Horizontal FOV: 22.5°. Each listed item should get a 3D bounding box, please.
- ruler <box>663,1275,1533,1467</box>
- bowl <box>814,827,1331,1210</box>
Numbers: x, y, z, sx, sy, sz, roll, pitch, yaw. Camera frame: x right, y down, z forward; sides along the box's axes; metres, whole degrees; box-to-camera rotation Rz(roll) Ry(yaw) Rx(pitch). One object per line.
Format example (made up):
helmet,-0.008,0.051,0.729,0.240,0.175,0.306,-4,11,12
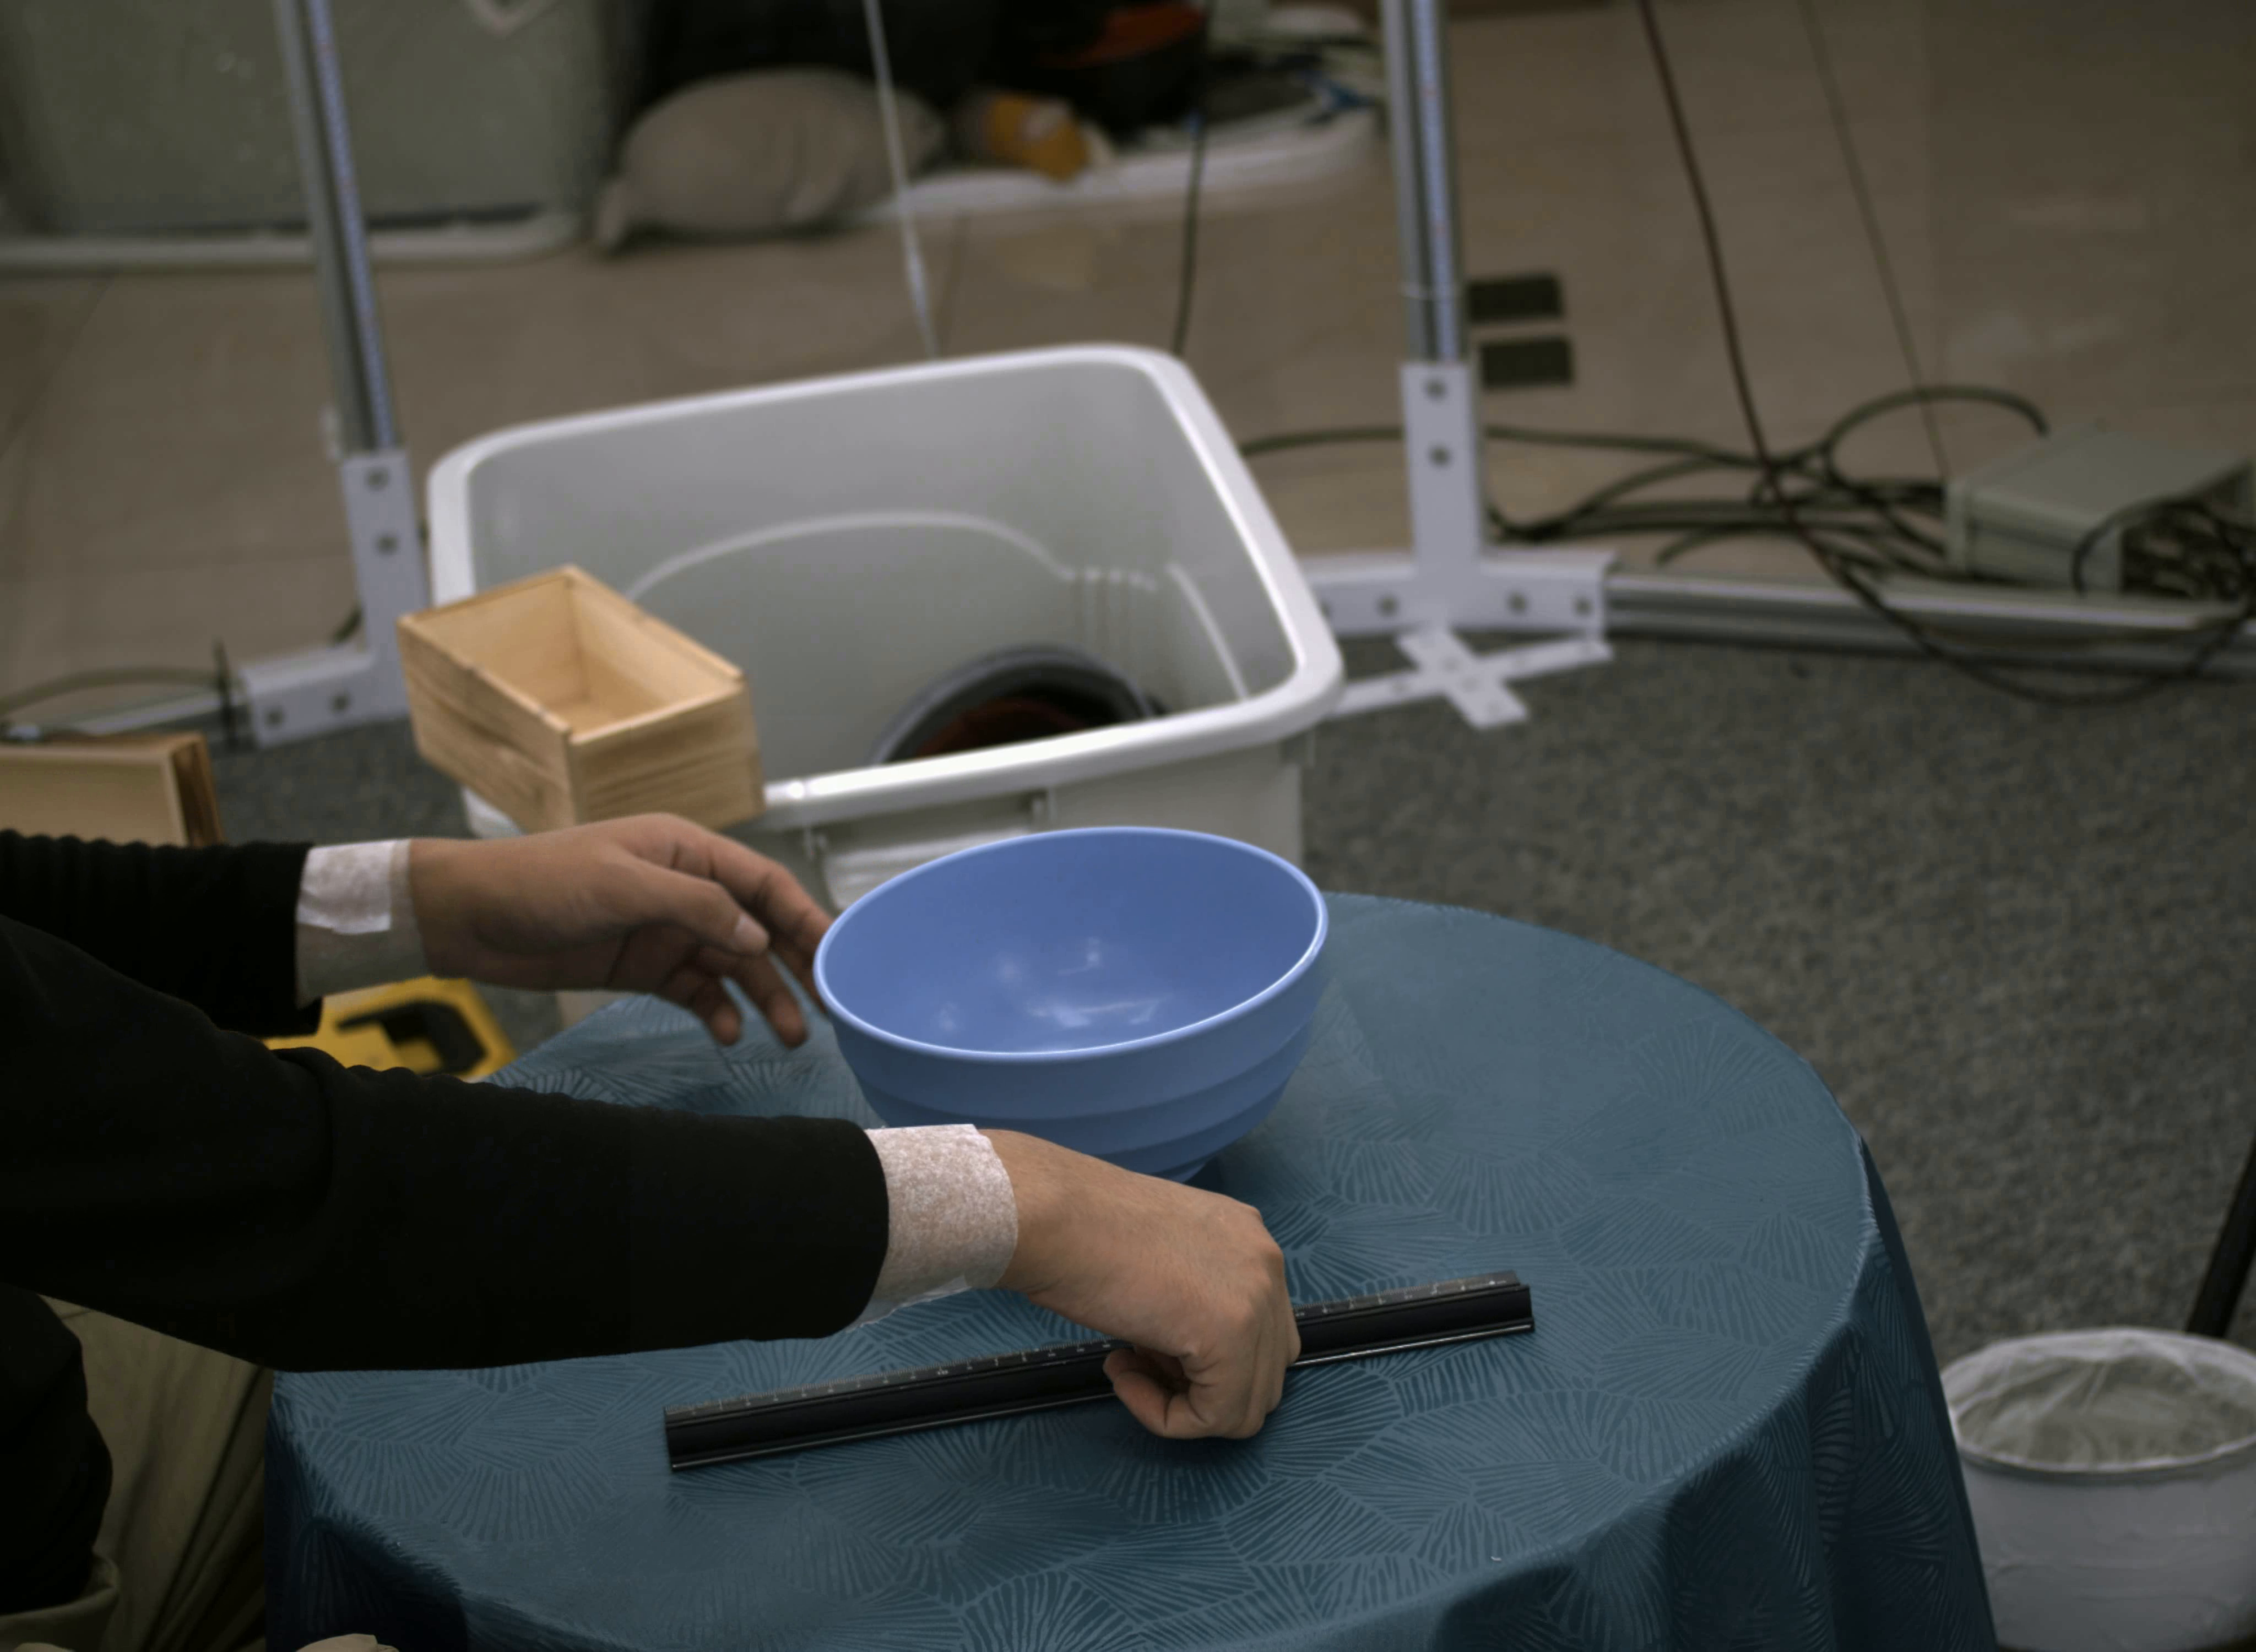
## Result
ruler,-0.012,0.188,2.024,0.312,0.017,0.039,-9,25,-4
bowl,-0.017,0.084,2.156,0.196,0.097,0.193,-5,25,2
